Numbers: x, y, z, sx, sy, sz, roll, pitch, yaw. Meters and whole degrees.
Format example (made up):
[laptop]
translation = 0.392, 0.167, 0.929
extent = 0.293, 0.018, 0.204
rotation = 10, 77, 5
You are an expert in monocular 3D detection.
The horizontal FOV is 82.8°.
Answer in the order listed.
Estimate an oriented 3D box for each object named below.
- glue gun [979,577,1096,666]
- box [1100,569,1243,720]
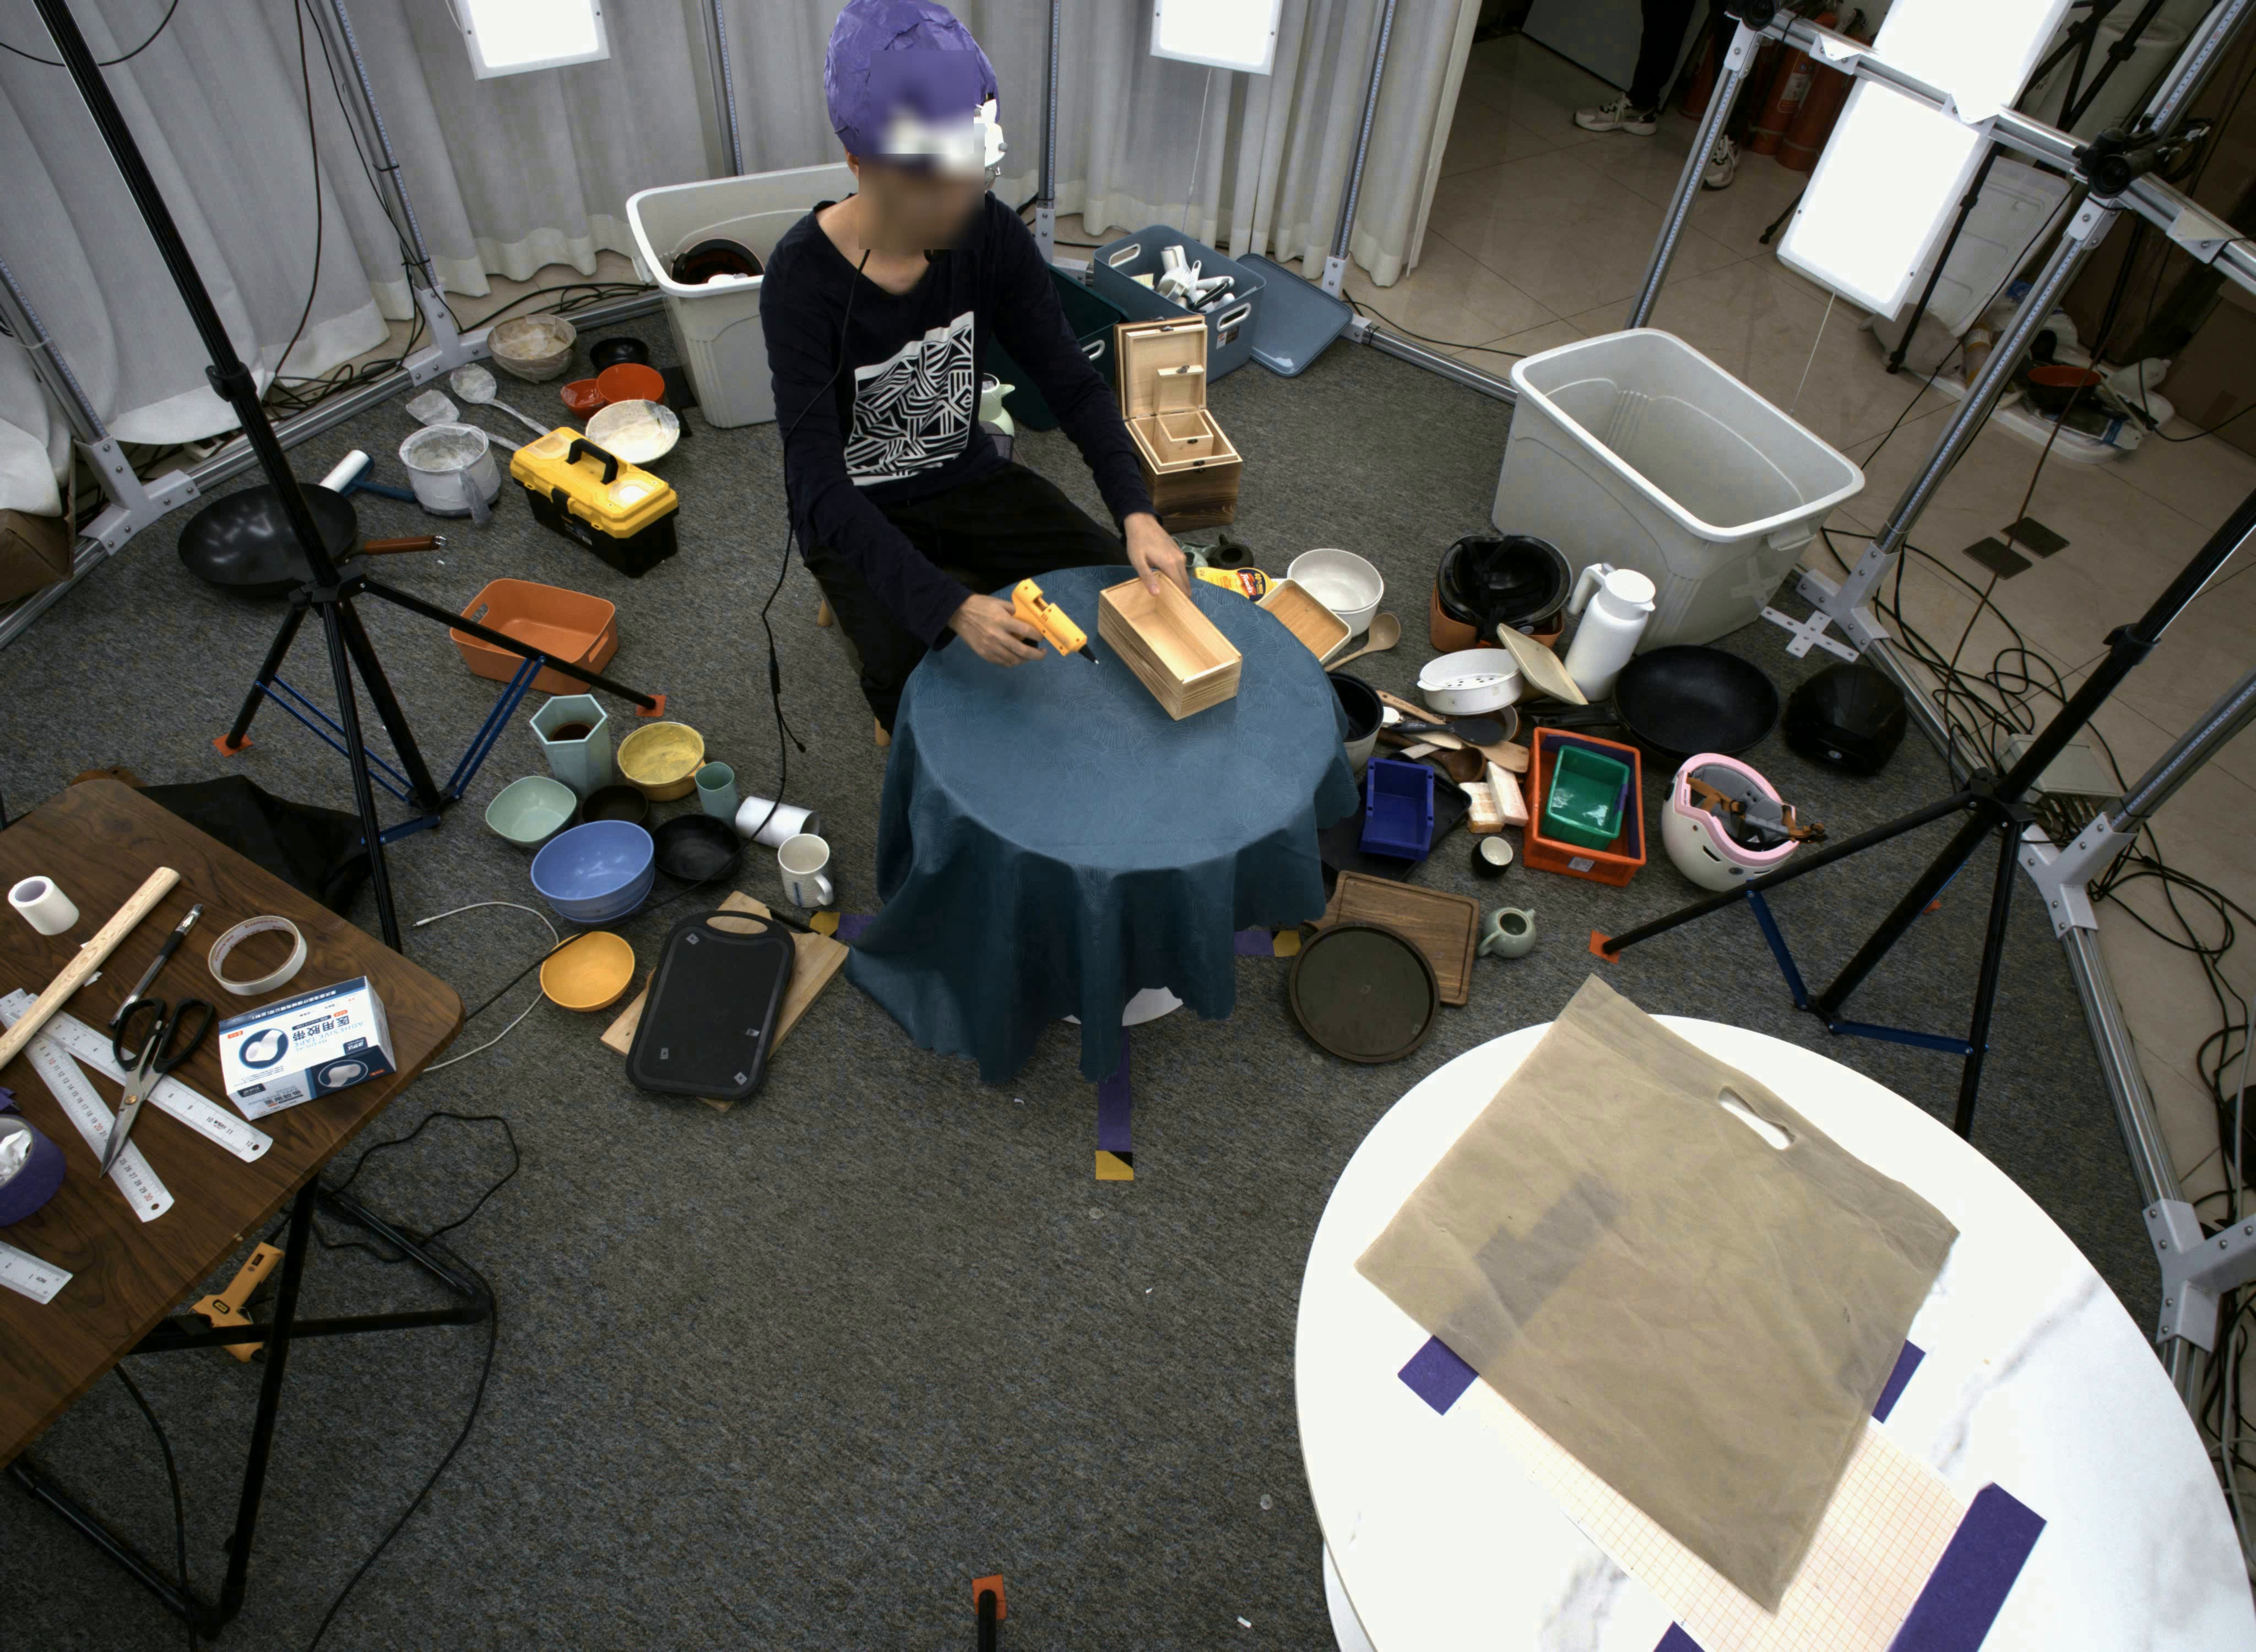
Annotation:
[glue gun]
translation = -0.119, -0.243, 1.750
extent = 0.152, 0.131, 0.031
rotation = 43, 29, 10
[box]
translation = 0.058, -0.263, 1.841
extent = 0.108, 0.078, 0.216
rotation = -23, 55, -22
